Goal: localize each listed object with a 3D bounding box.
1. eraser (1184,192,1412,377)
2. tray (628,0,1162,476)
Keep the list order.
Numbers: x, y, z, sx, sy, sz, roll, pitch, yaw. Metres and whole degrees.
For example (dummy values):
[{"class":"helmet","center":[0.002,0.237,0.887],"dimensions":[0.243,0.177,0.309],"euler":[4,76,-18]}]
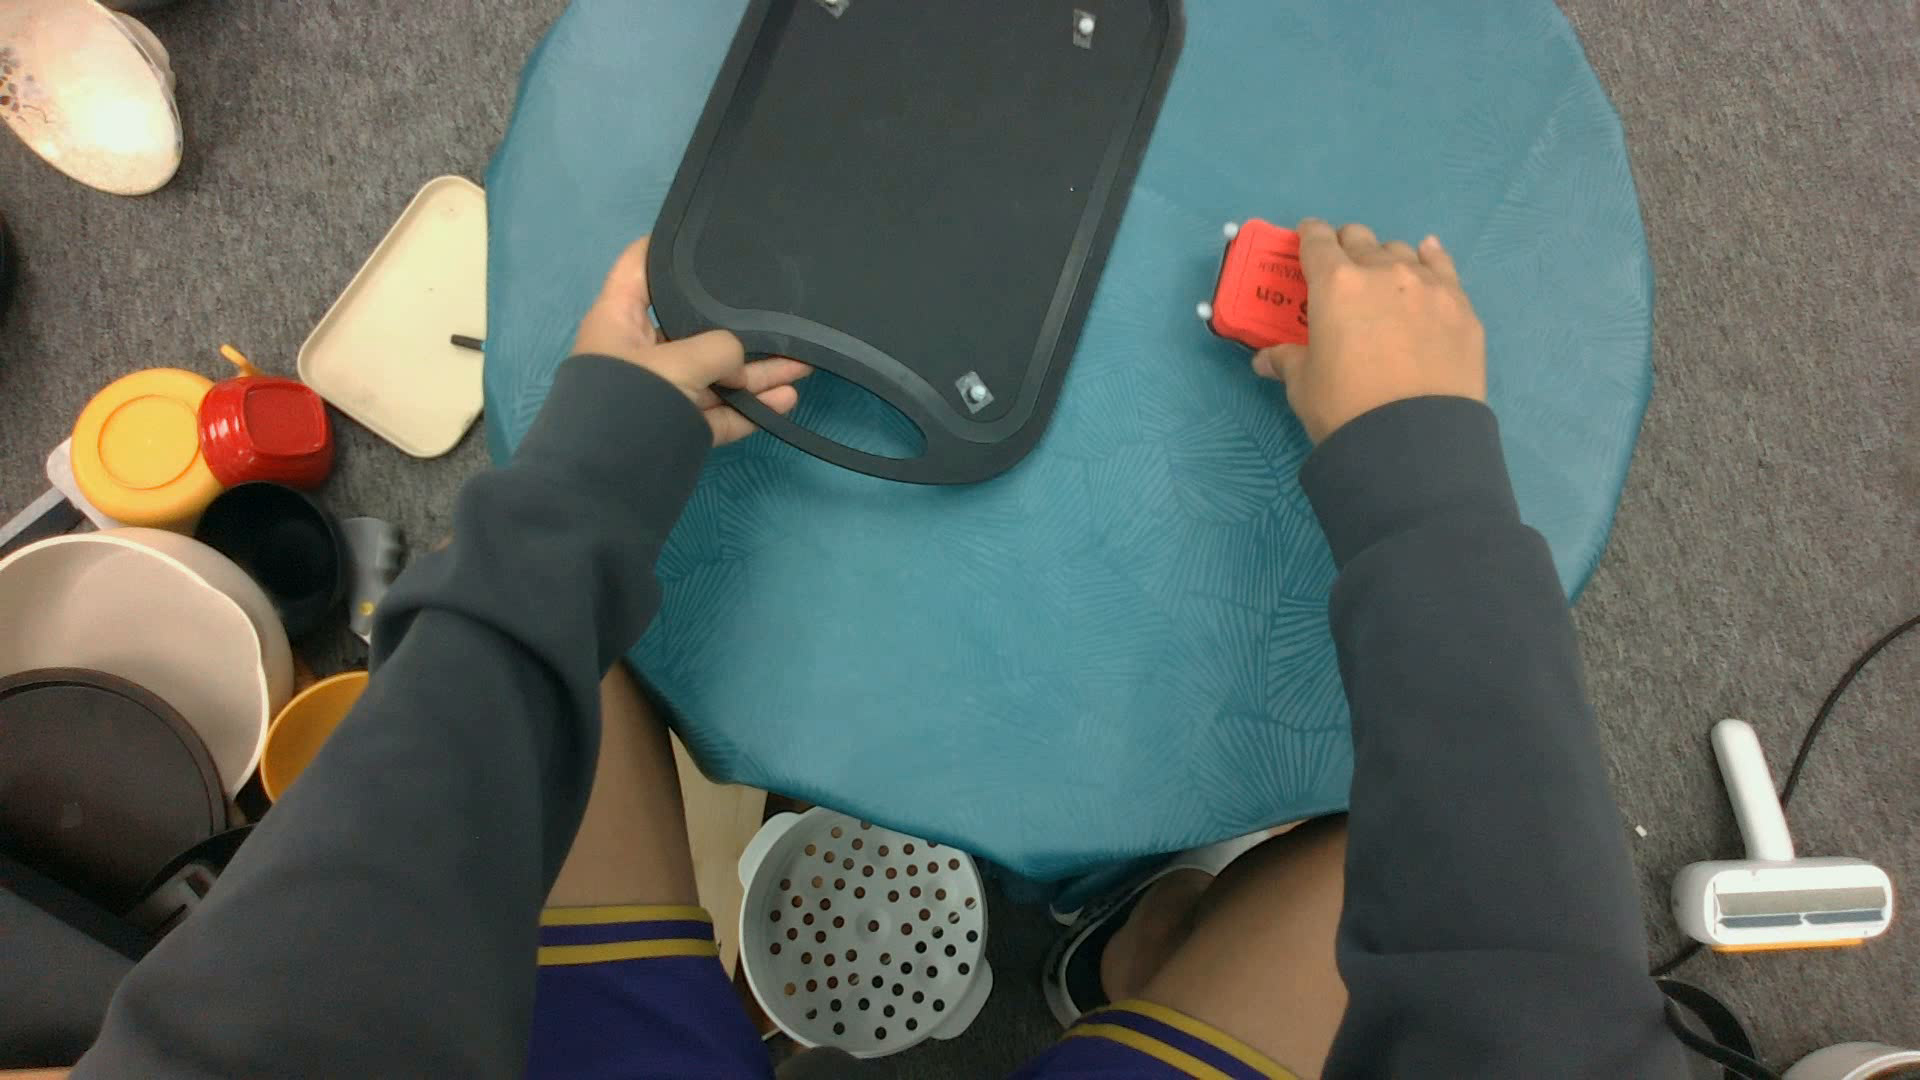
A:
[{"class":"eraser","center":[0.167,-0.124,0.677],"dimensions":[0.108,0.023,0.059],"euler":[21,78,-13]},{"class":"tray","center":[-0.023,-0.193,0.673],"dimensions":[0.211,0.010,0.326],"euler":[24,76,-18]}]
